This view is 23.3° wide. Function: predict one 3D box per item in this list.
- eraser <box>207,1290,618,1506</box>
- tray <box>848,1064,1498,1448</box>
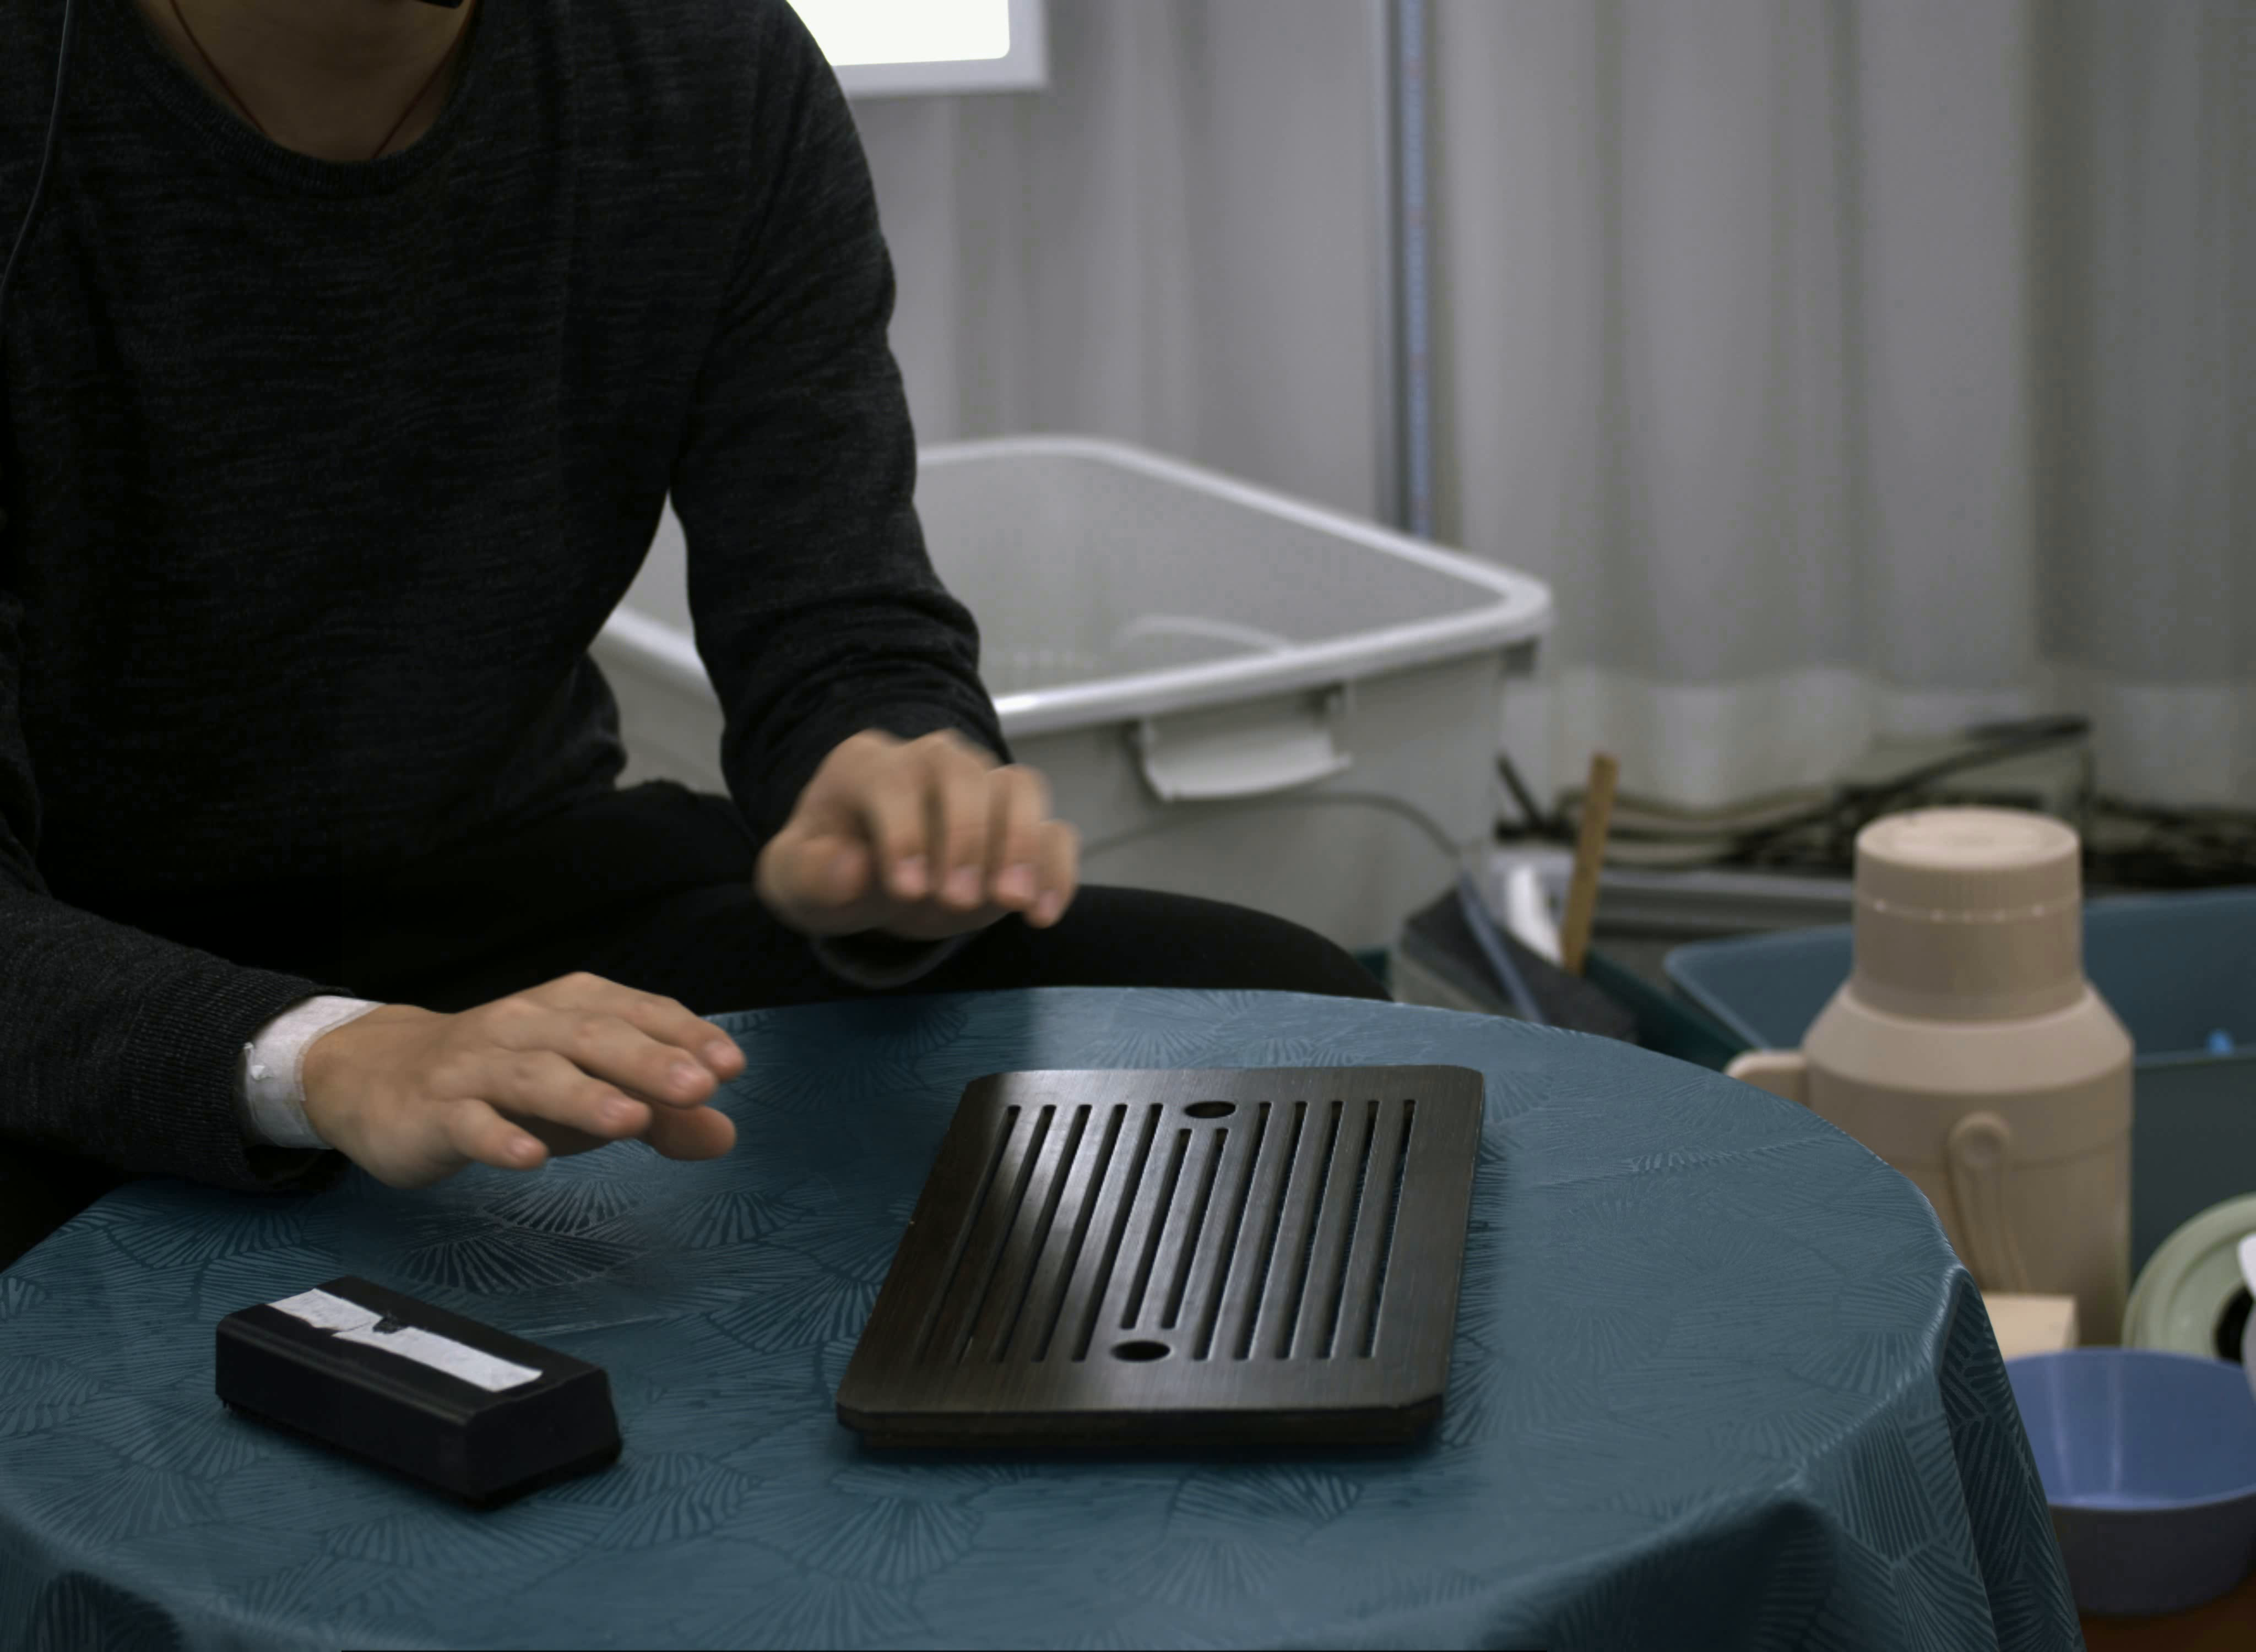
[{"bbox_3d":[-0.200,0.159,1.531,0.053,0.030,0.126,-13,16,-42],"label":"eraser"},{"bbox_3d":[0.021,0.126,1.632,0.170,0.018,0.307,-1,15,7],"label":"tray"}]
